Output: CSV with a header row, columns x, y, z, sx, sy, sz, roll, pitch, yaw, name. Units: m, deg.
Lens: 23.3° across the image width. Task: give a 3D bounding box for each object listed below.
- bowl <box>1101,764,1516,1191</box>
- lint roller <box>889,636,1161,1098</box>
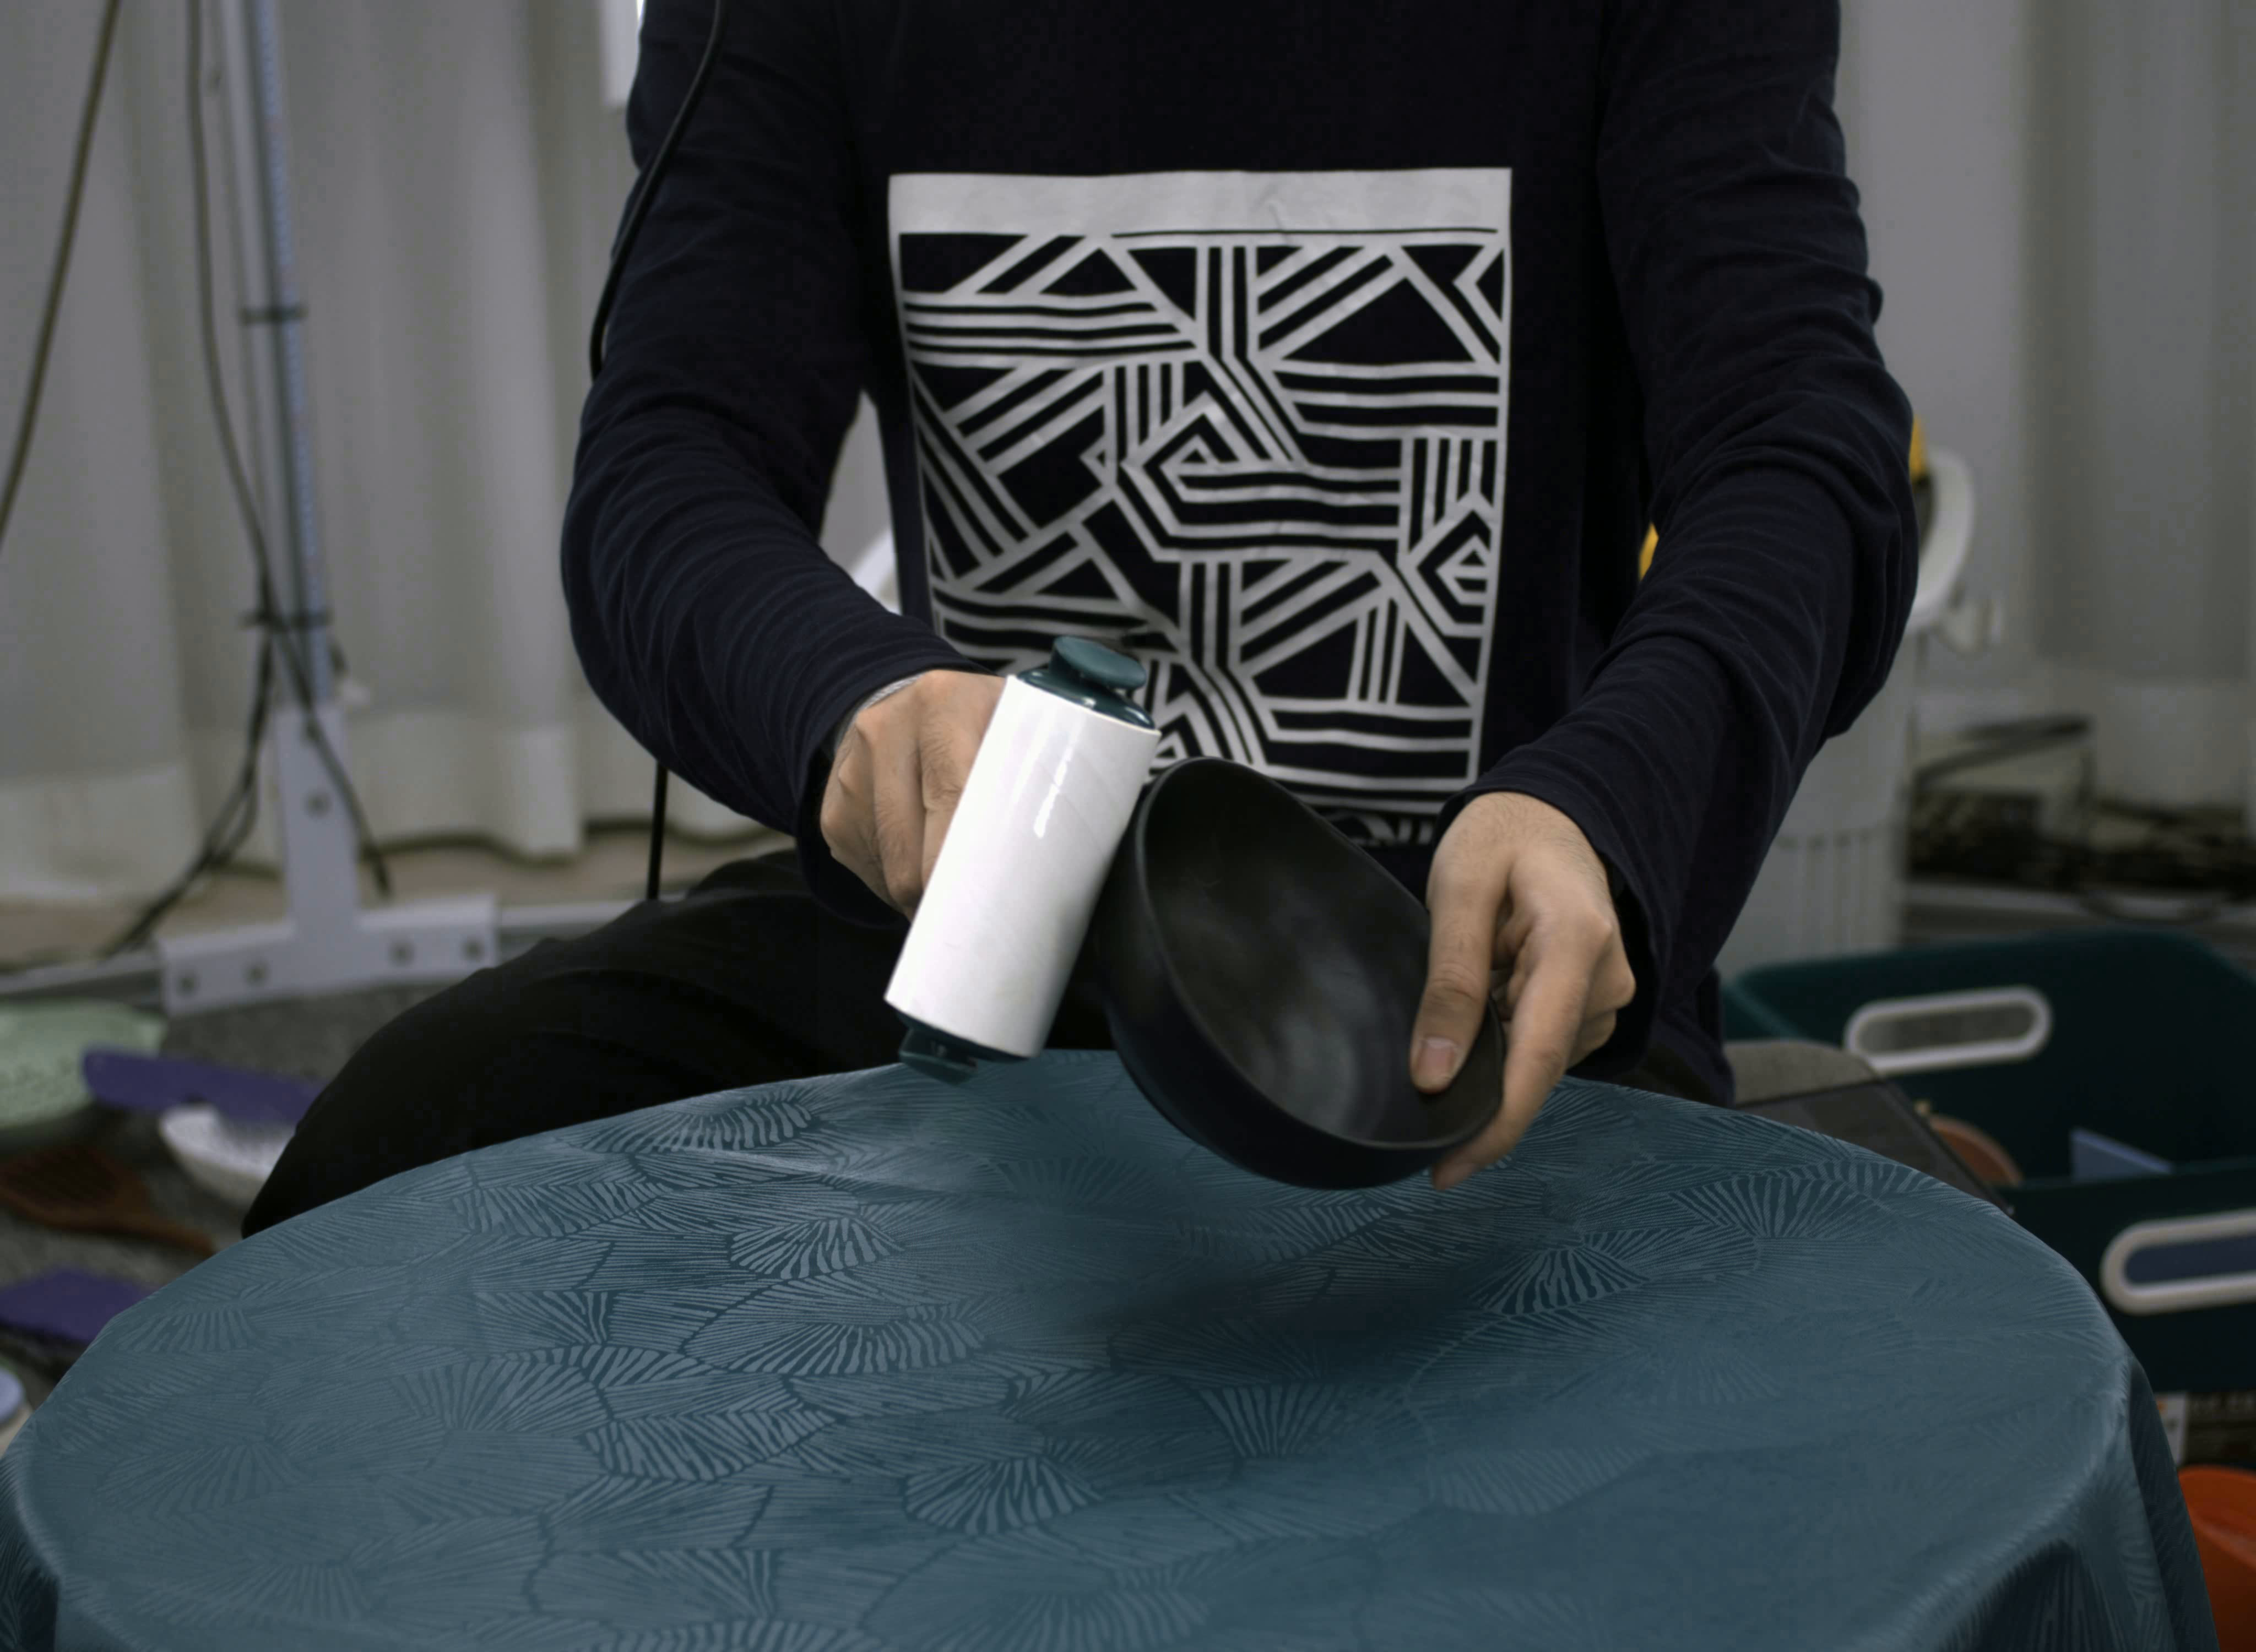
x,y,z,sx,sy,sz,roll,pitch,yaw,name
0.041,0.052,1.582,0.137,0.066,0.172,40,26,-7,bowl
-0.044,0.002,1.615,0.048,0.134,0.181,20,3,-16,lint roller
